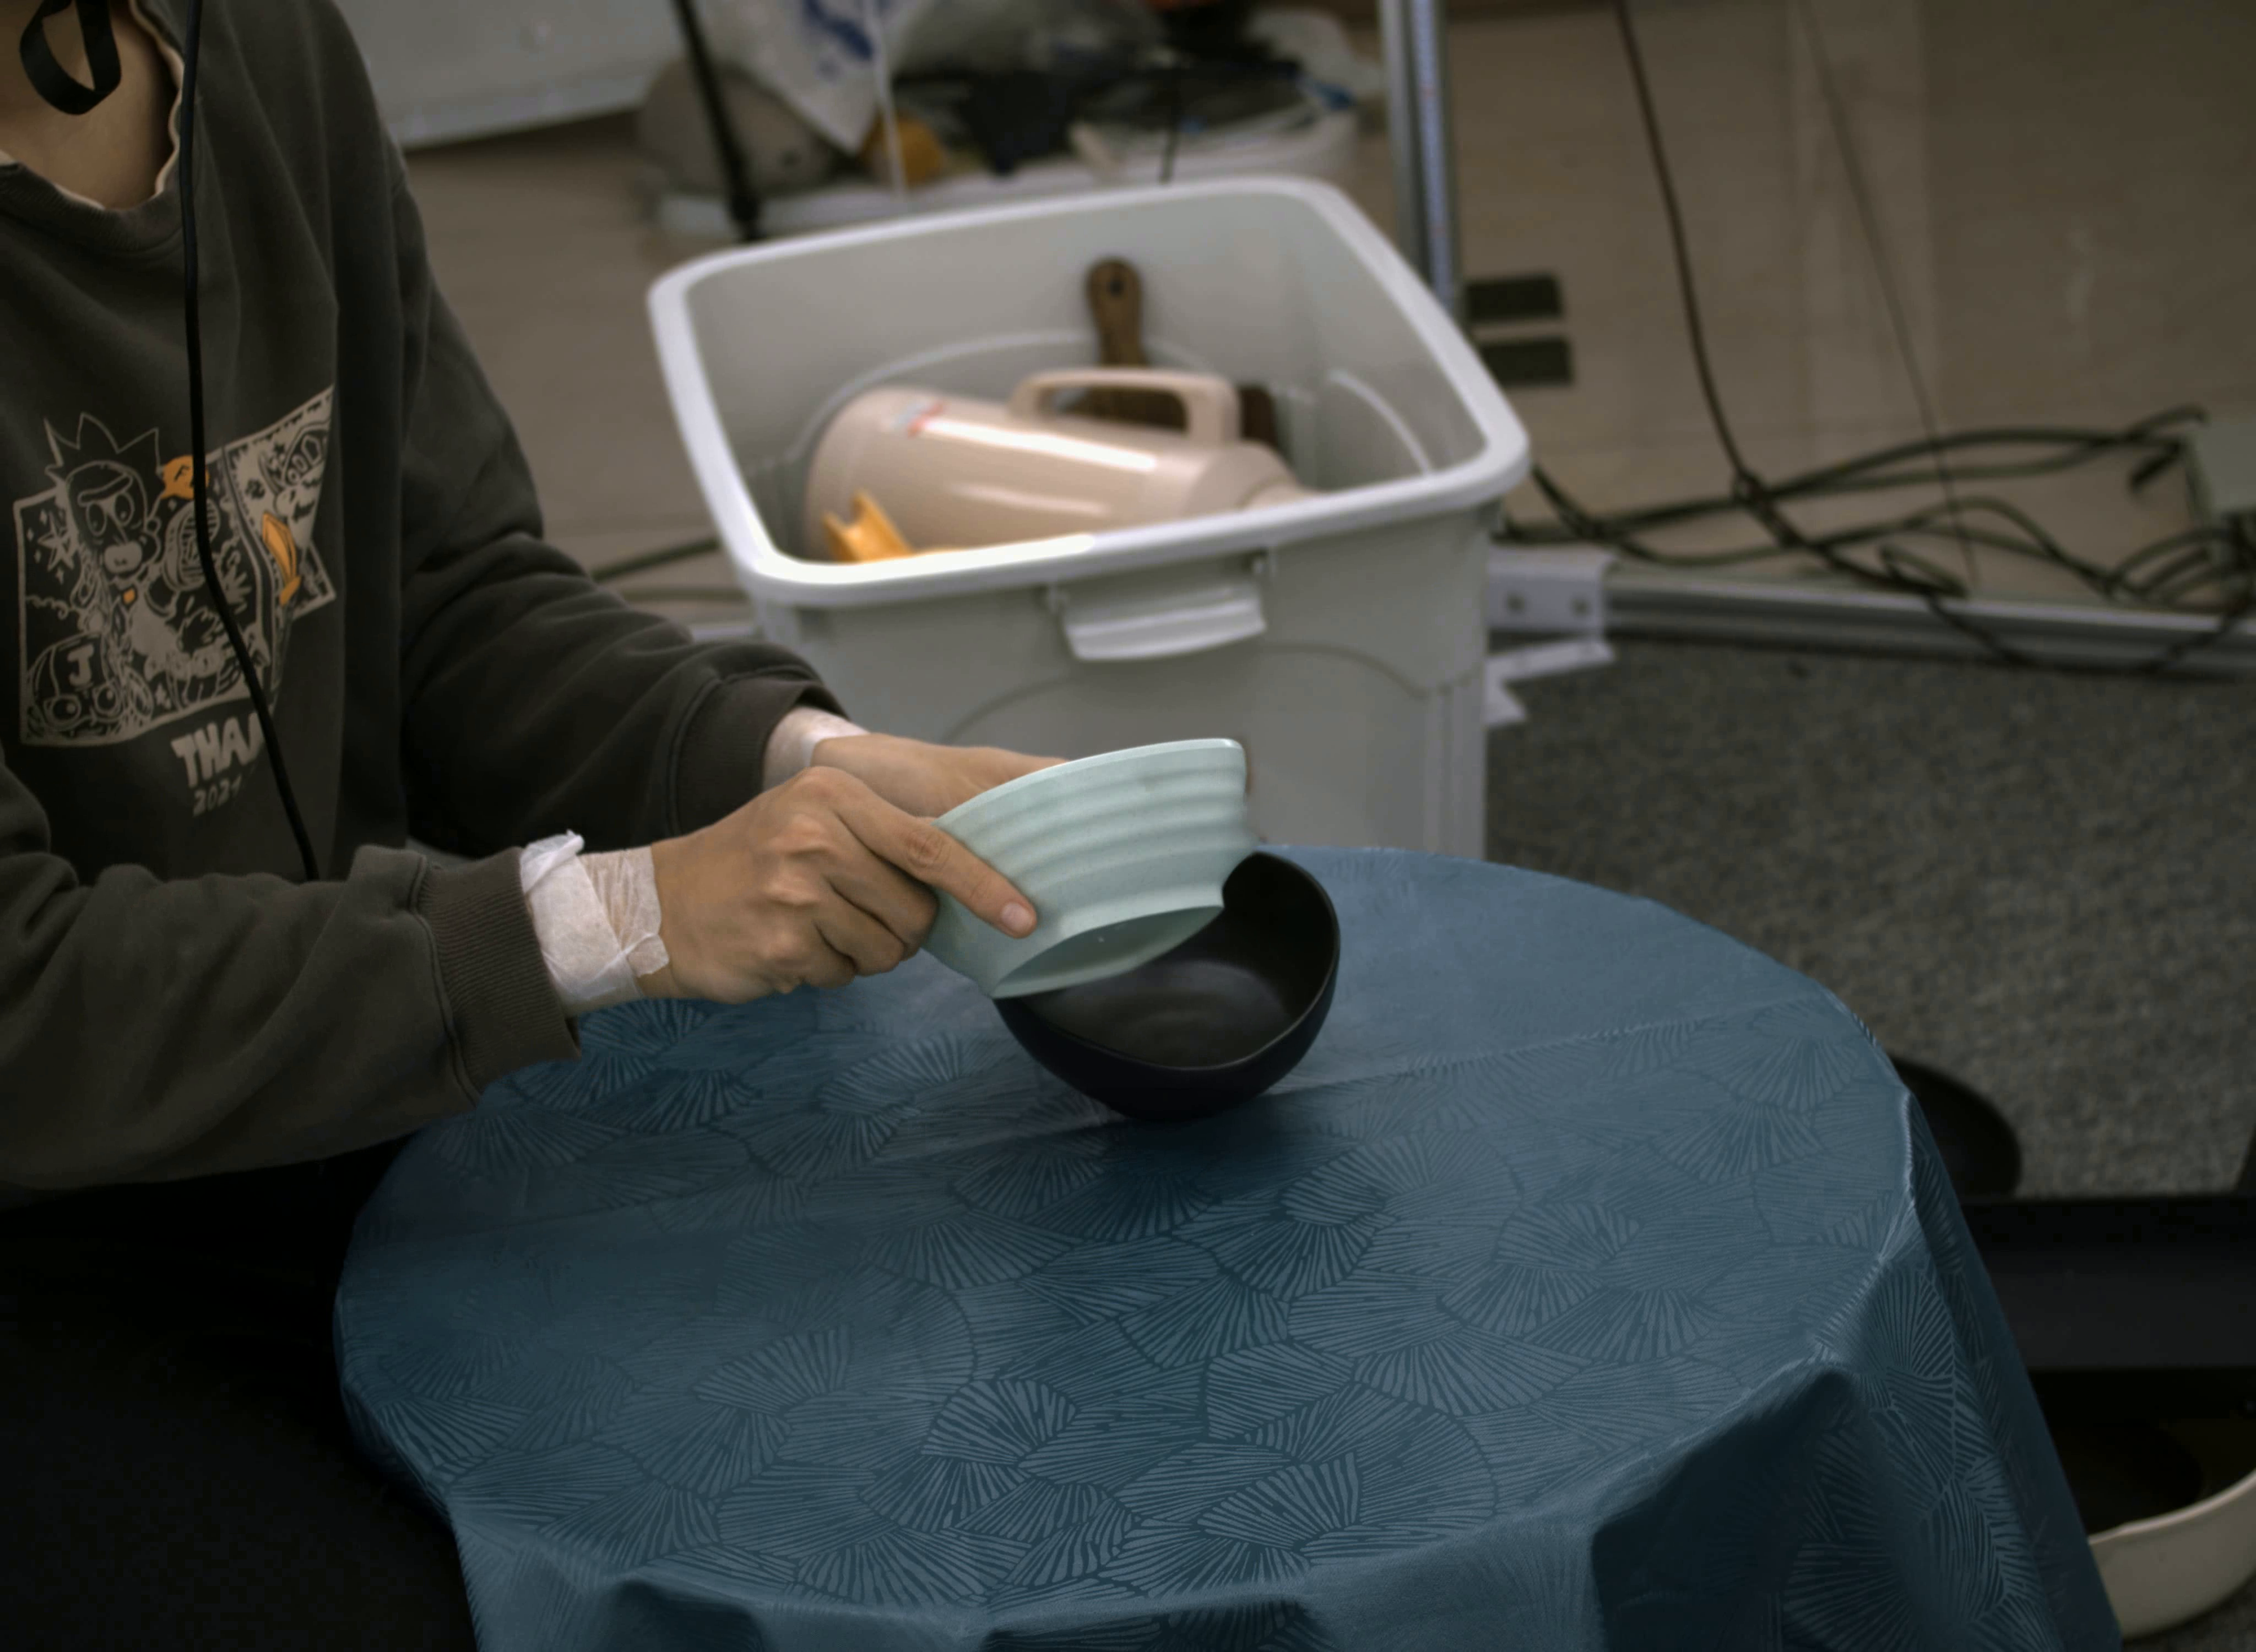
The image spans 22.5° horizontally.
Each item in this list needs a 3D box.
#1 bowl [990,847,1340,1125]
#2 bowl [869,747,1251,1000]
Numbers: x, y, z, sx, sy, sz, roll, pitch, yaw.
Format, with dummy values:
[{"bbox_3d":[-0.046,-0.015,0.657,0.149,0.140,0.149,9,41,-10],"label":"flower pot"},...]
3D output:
[{"bbox_3d":[0.017,0.070,2.201,0.137,0.068,0.168,-17,31,-14],"label":"bowl"},{"bbox_3d":[-0.019,0.023,2.133,0.151,0.058,0.153,-16,-15,-4],"label":"bowl"}]
